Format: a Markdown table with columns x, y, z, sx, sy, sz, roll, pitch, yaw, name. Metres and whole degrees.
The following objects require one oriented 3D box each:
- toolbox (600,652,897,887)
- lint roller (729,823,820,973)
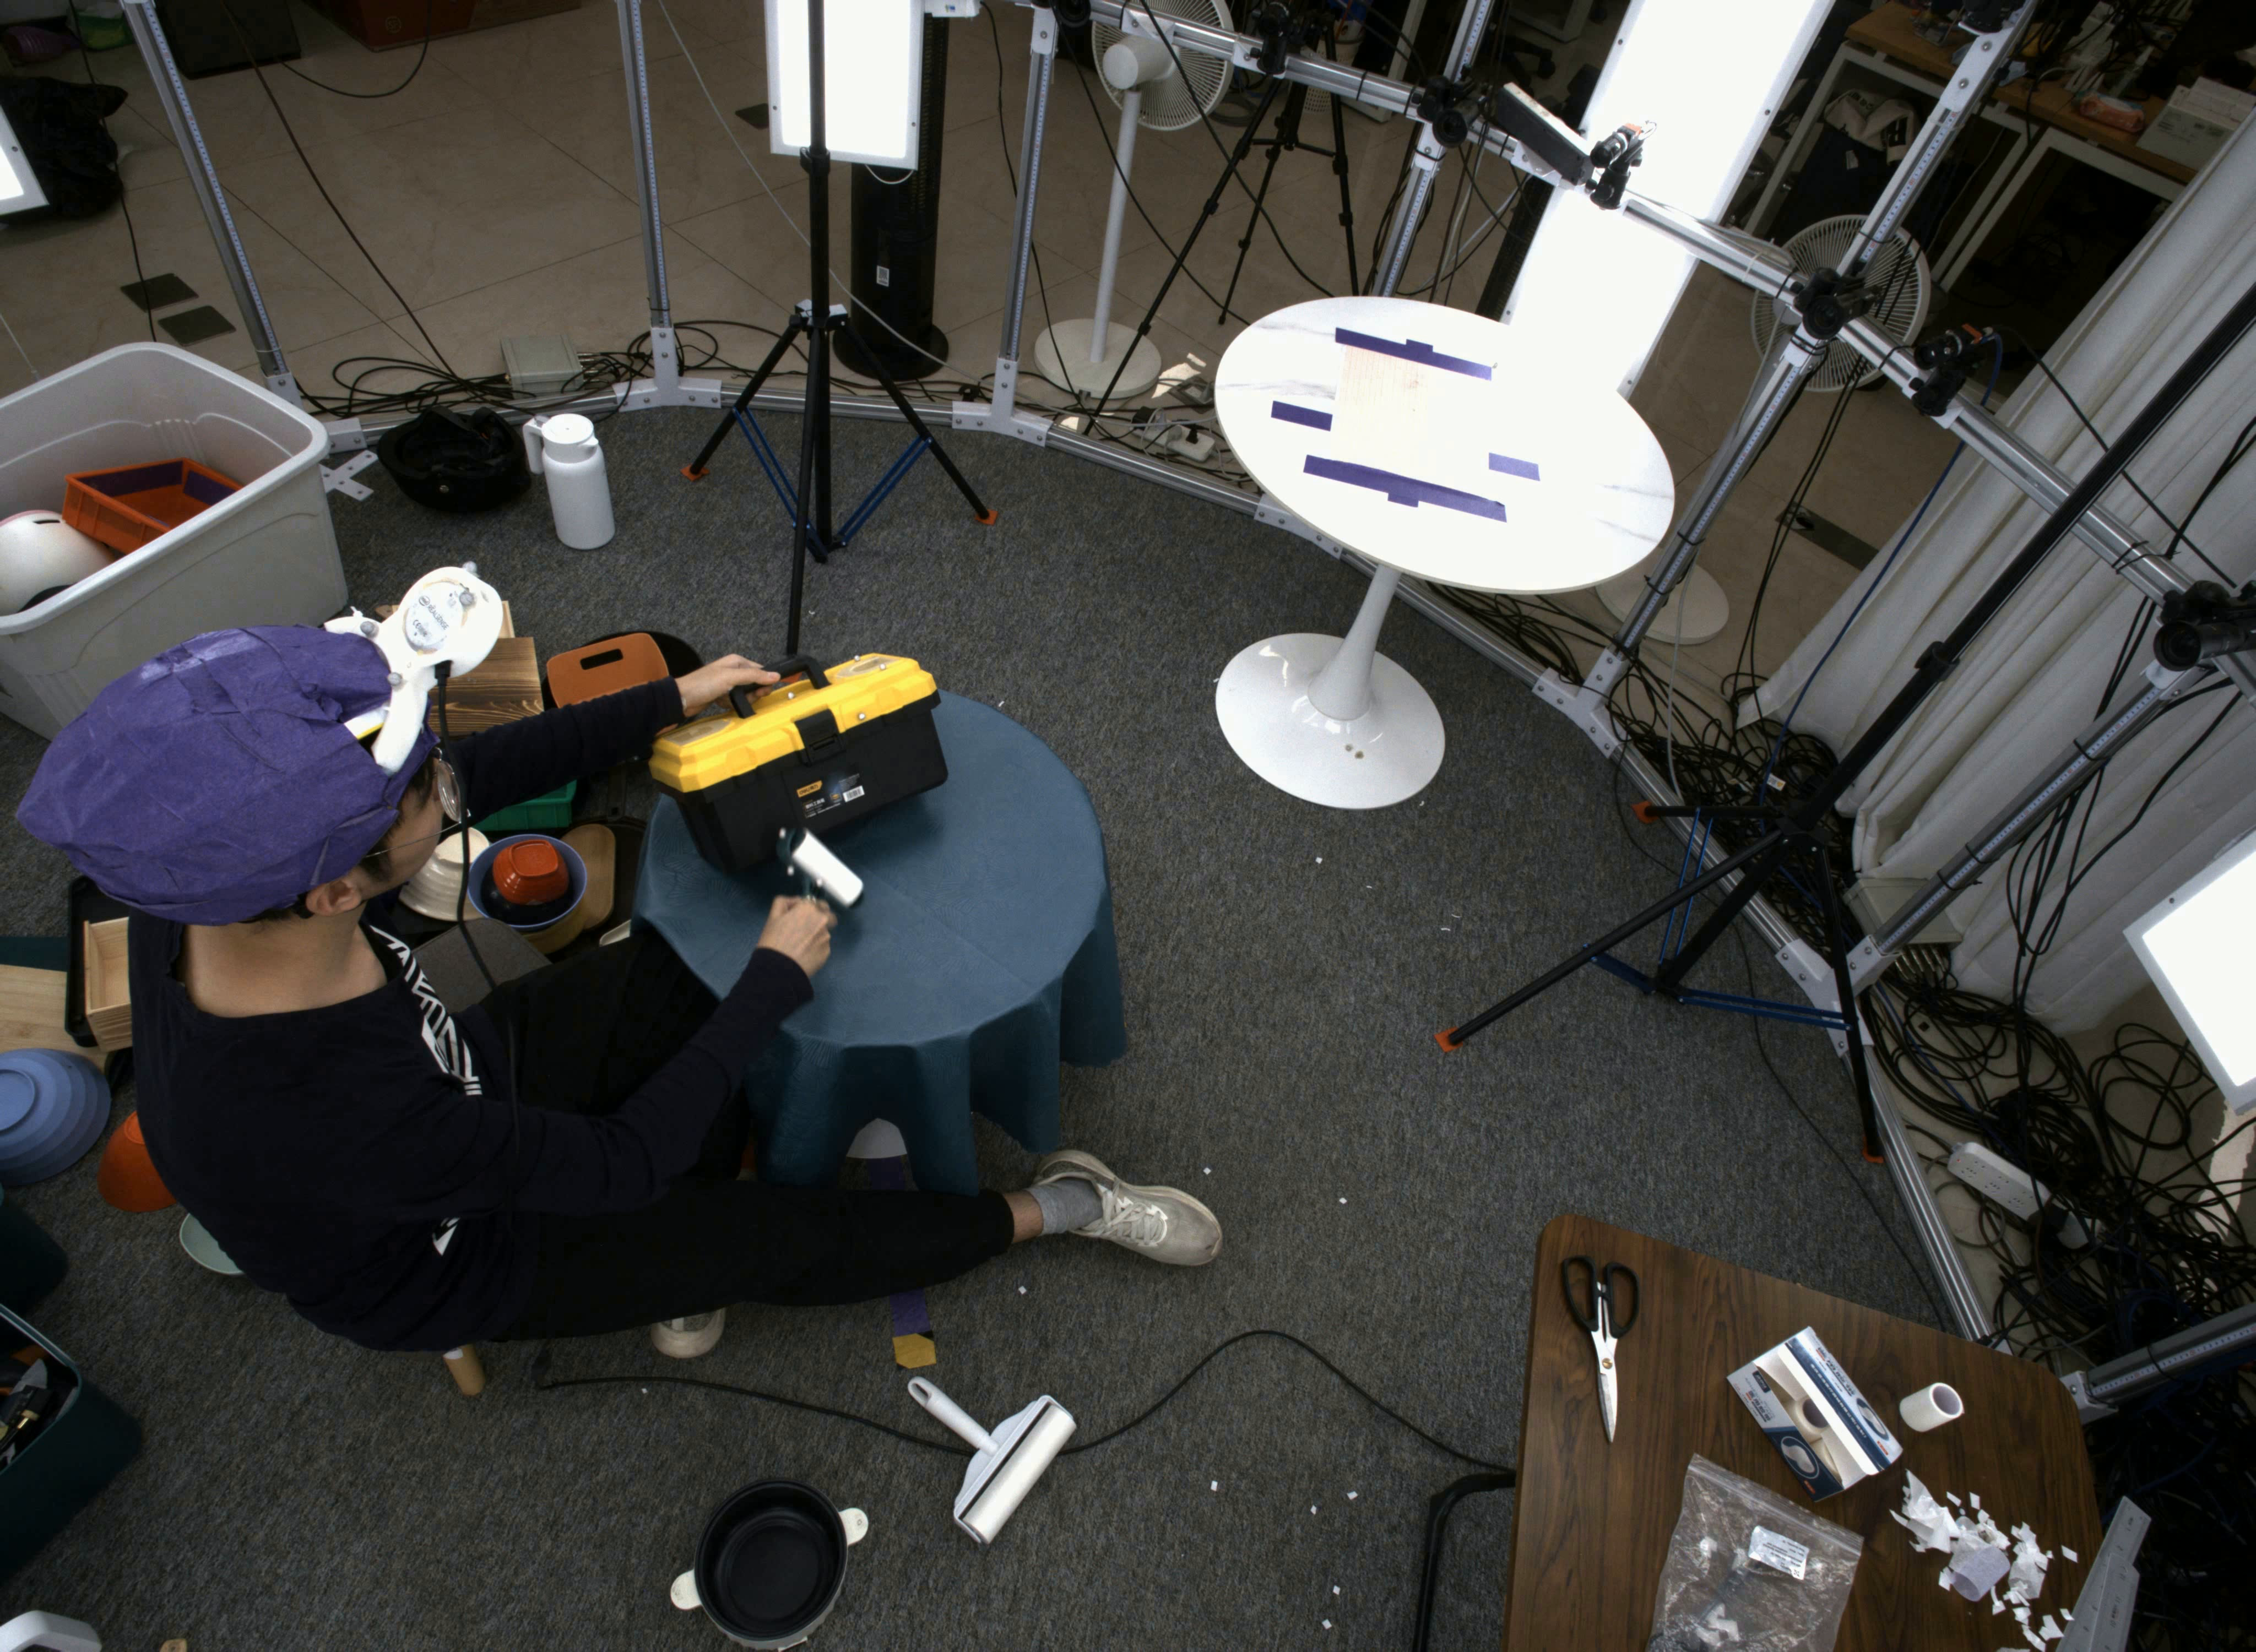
| x | y | z | sx | sy | sz | roll | pitch | yaw | name |
| --- | --- | --- | --- | --- | --- | --- | --- | --- | --- |
| -0.475 | -0.078 | 1.643 | 0.353 | 0.178 | 0.175 | -31 | 26 | -31 | toolbox |
| -0.430 | 0.096 | 1.540 | 0.048 | 0.139 | 0.176 | -28 | 37 | 18 | lint roller |
